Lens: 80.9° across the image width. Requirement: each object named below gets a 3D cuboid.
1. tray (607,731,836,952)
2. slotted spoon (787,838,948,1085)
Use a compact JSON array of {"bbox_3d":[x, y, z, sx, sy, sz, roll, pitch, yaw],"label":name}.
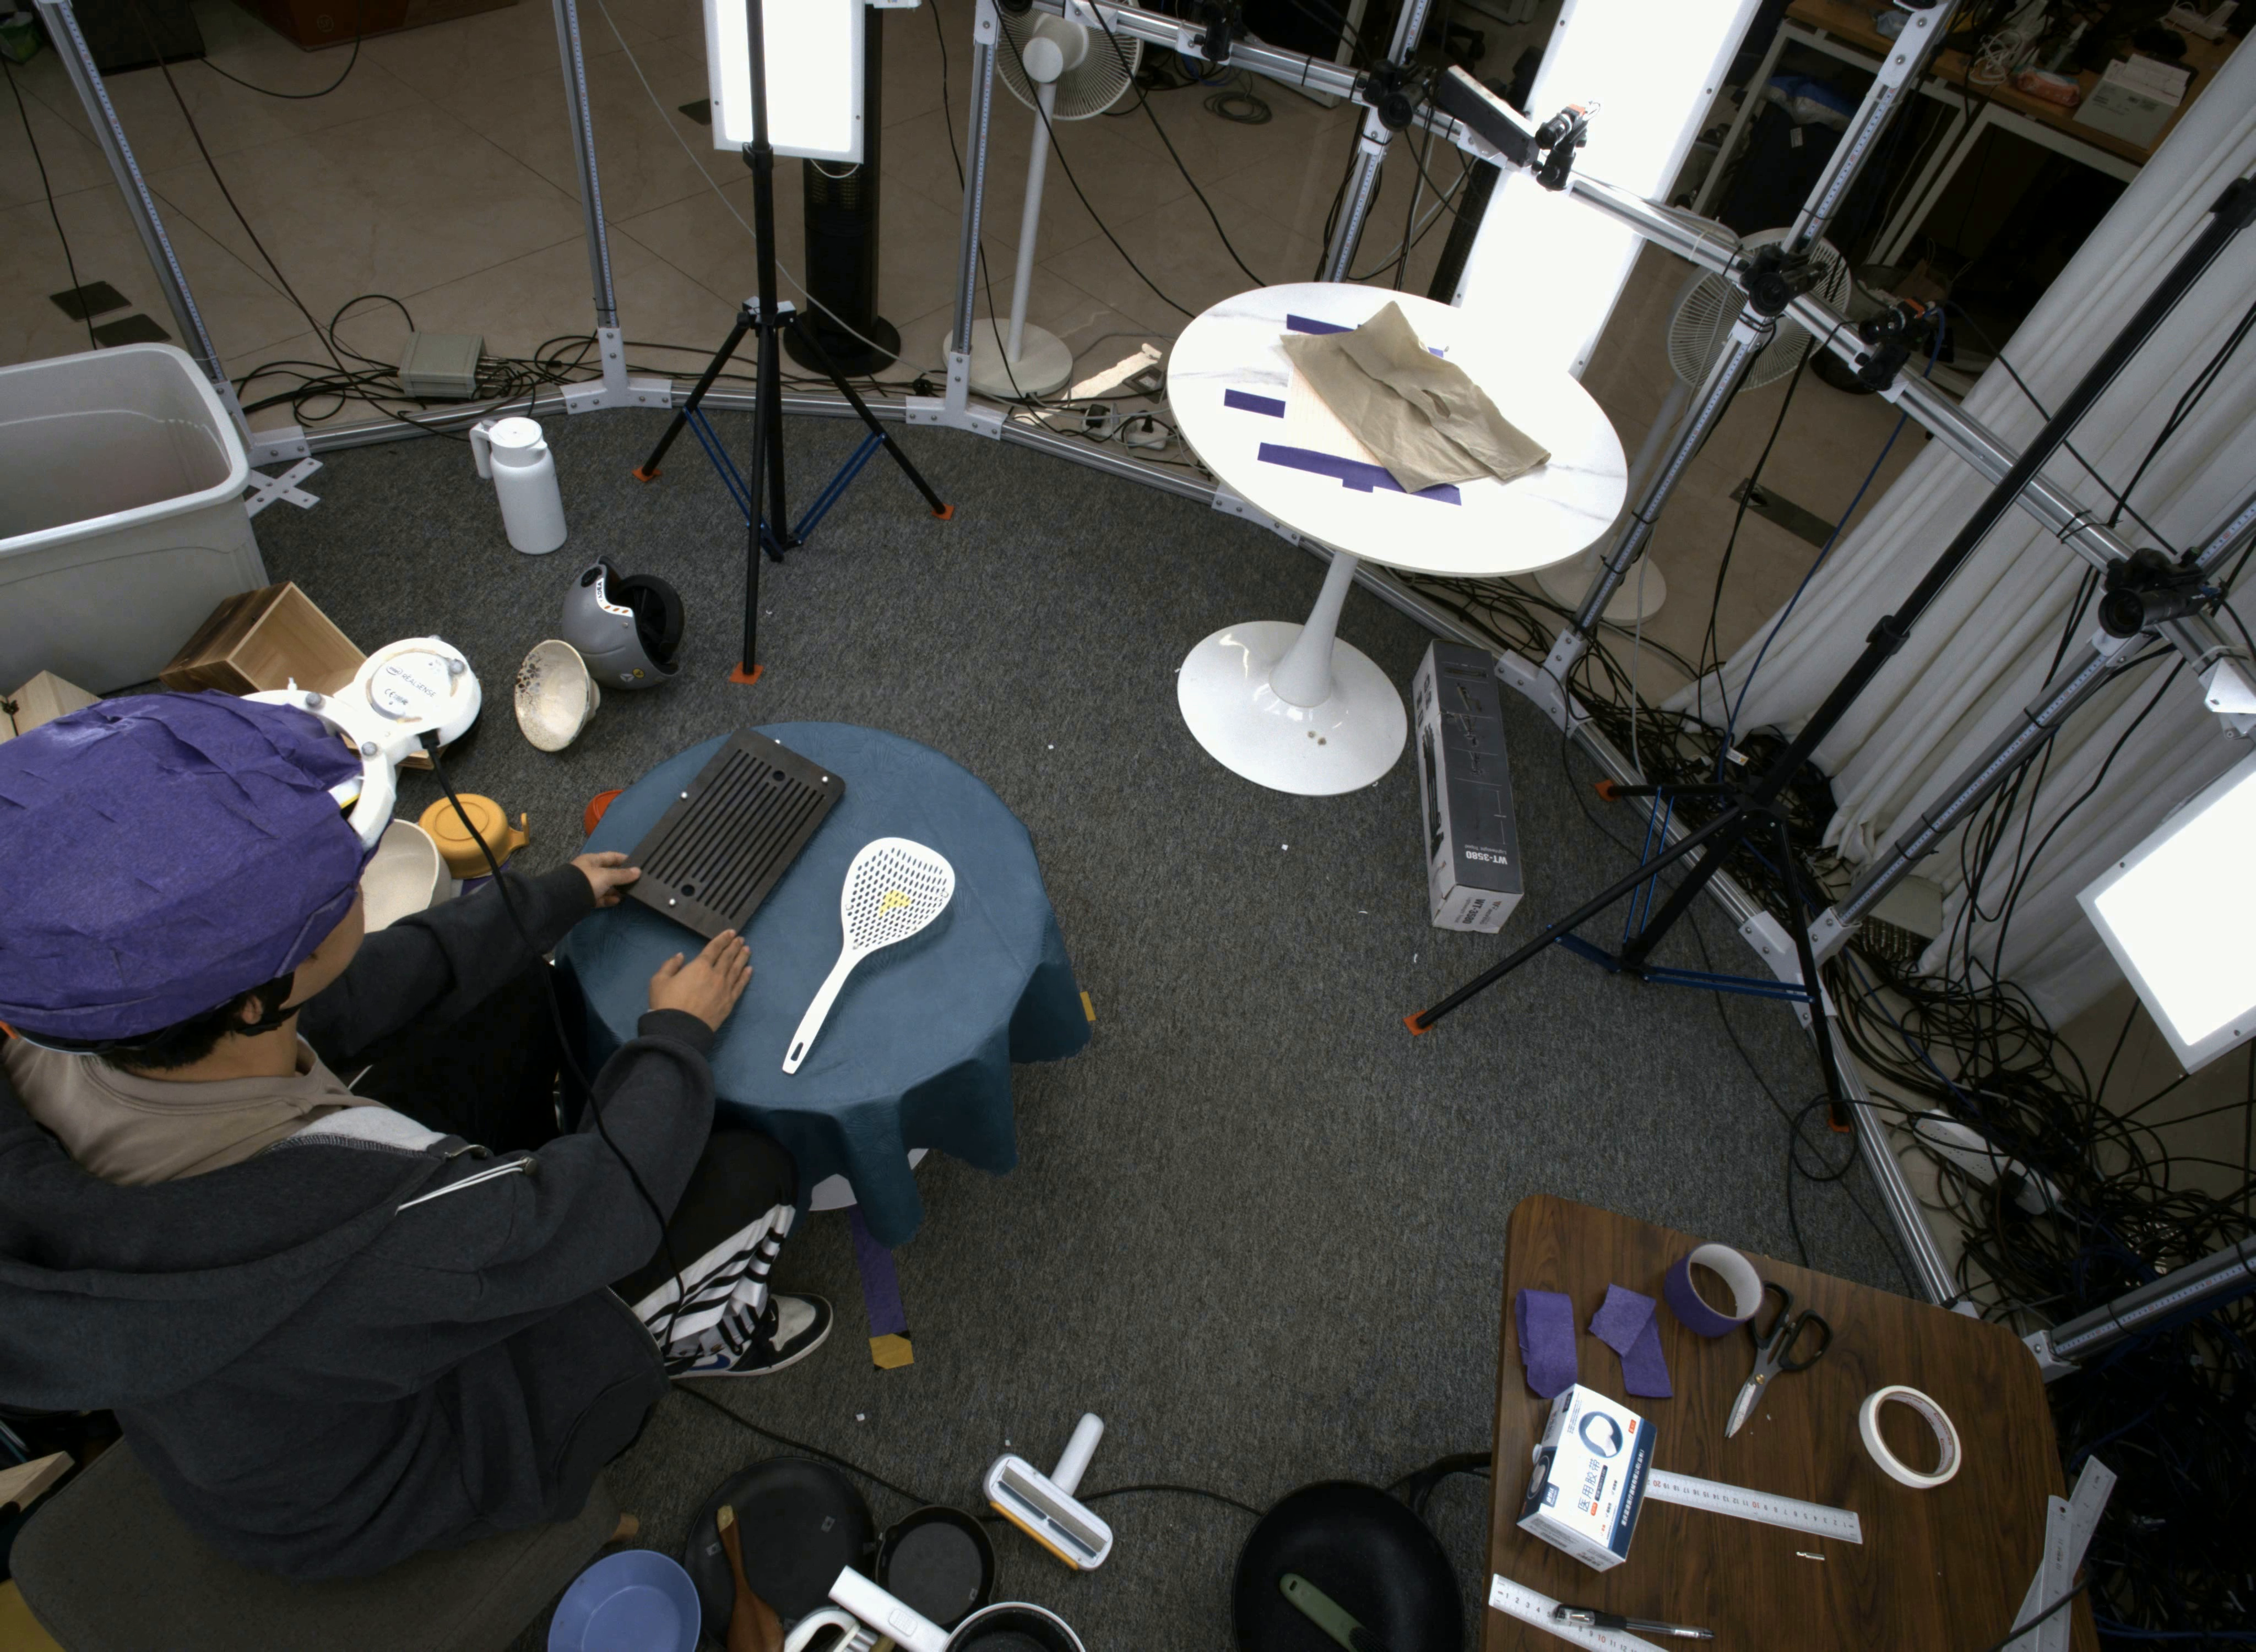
[{"bbox_3d":[-0.521,0.013,1.666,0.169,0.019,0.303,28,51,-3],"label":"tray"},{"bbox_3d":[-0.340,0.159,1.605,0.135,0.051,0.345,24,51,2],"label":"slotted spoon"}]
